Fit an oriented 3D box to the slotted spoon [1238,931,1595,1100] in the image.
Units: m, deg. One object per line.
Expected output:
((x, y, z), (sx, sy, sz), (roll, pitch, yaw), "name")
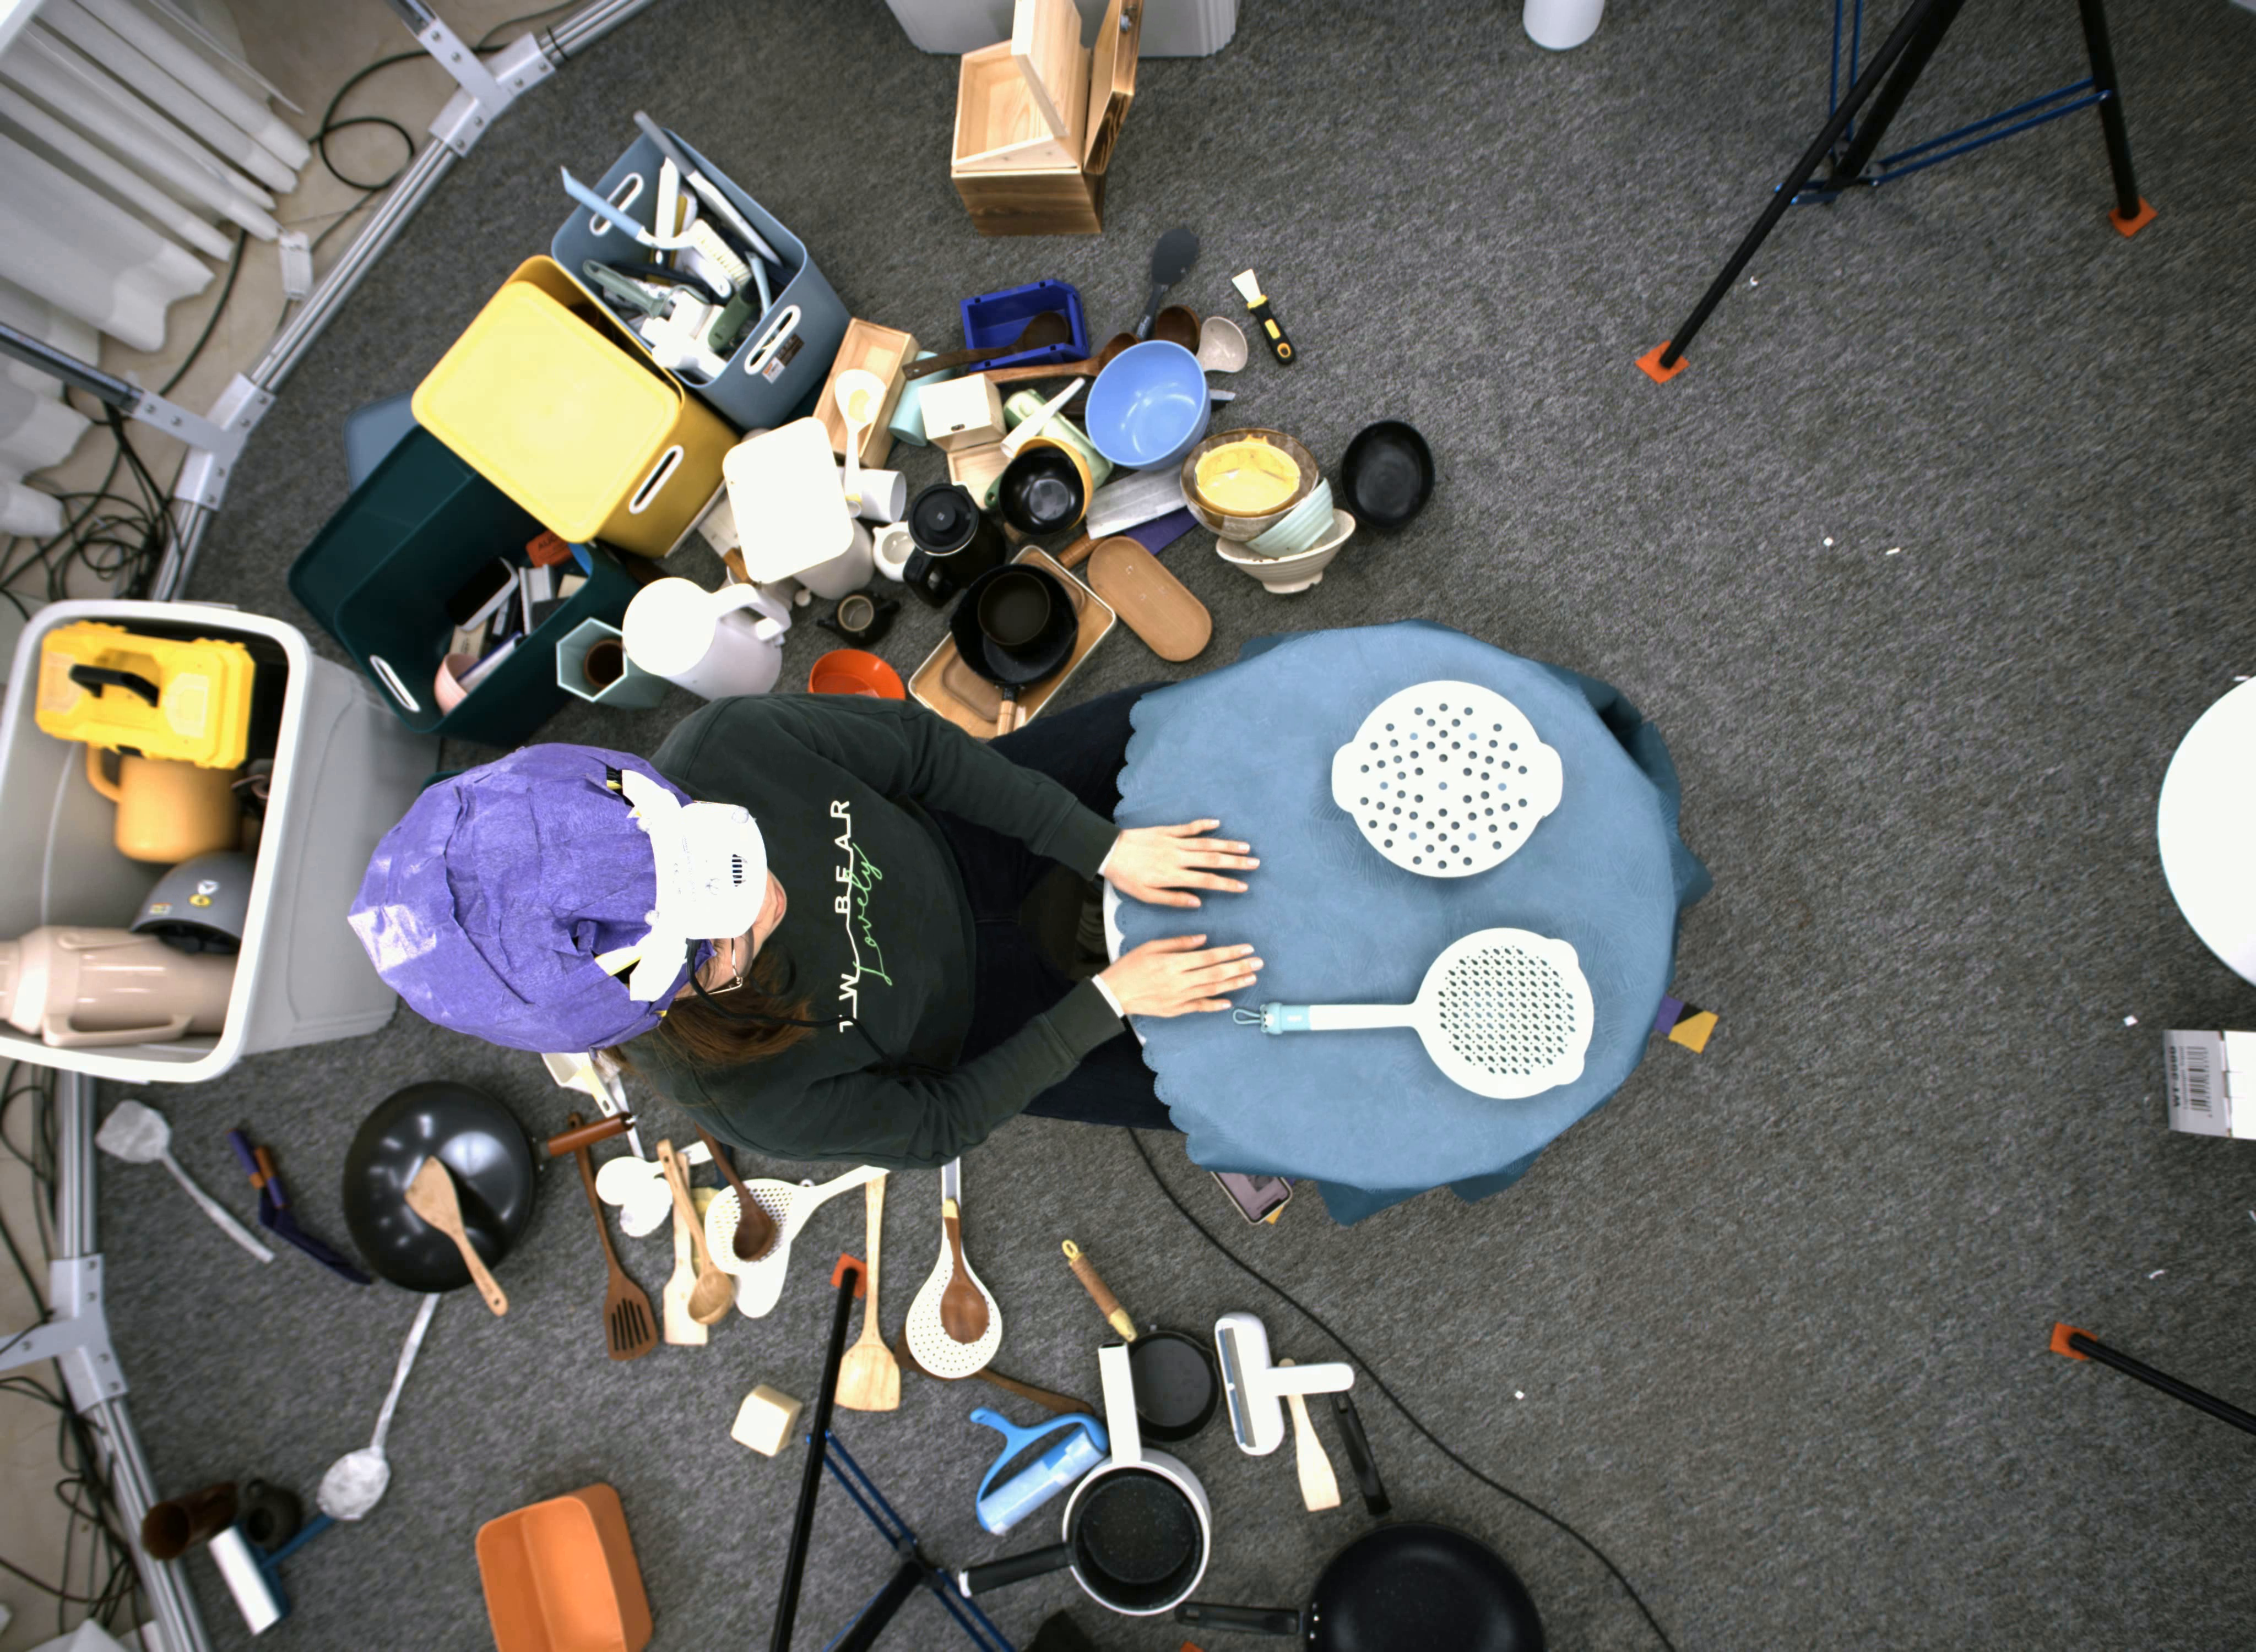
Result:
((0.290, 0.194, 1.420), (0.360, 0.075, 0.168), (-3, 86, 10), "slotted spoon")

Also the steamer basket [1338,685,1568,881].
((0.335, -0.044, 1.429), (0.231, 0.069, 0.200), (0, 85, 11), "steamer basket")
